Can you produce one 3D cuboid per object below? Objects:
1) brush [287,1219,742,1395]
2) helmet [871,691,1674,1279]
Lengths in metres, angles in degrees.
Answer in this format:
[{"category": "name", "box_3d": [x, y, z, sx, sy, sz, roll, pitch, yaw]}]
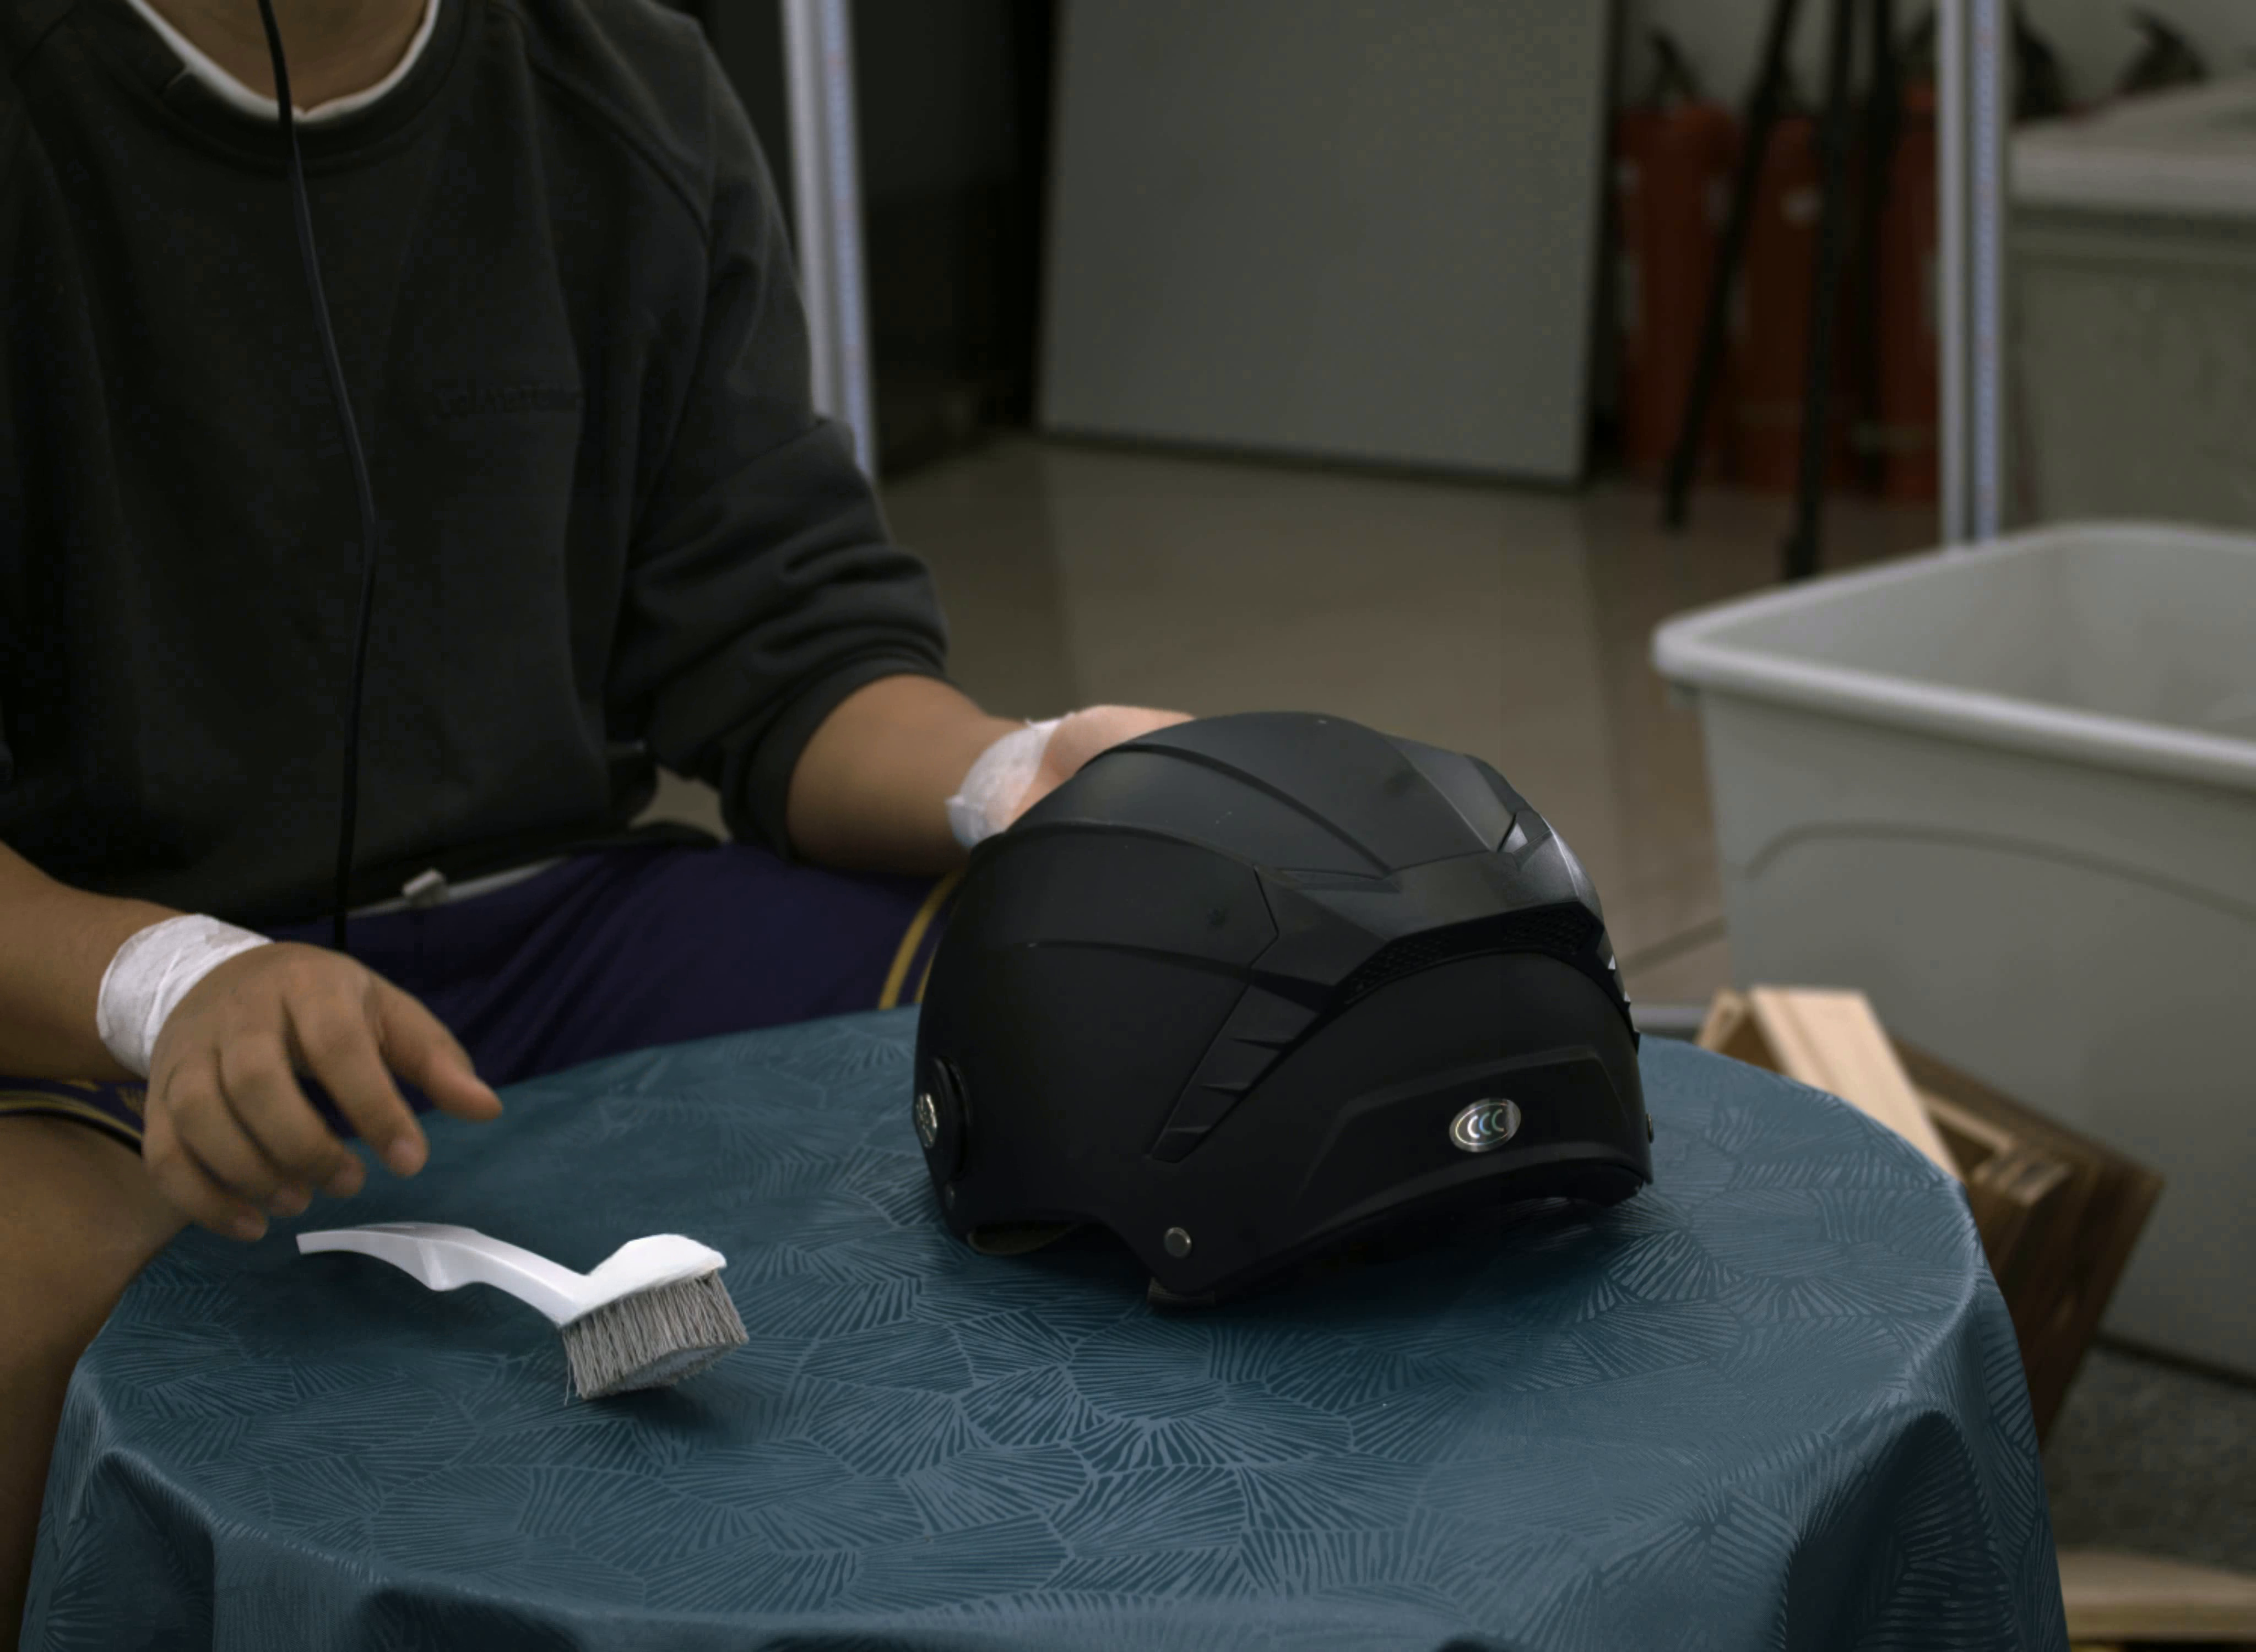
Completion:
[{"category": "brush", "box_3d": [-0.193, 0.149, 1.663, 0.033, 0.051, 0.246, -5, -2, -36]}, {"category": "helmet", "box_3d": [0.048, 0.044, 1.732, 0.241, 0.174, 0.279, -10, 16, -25]}]
